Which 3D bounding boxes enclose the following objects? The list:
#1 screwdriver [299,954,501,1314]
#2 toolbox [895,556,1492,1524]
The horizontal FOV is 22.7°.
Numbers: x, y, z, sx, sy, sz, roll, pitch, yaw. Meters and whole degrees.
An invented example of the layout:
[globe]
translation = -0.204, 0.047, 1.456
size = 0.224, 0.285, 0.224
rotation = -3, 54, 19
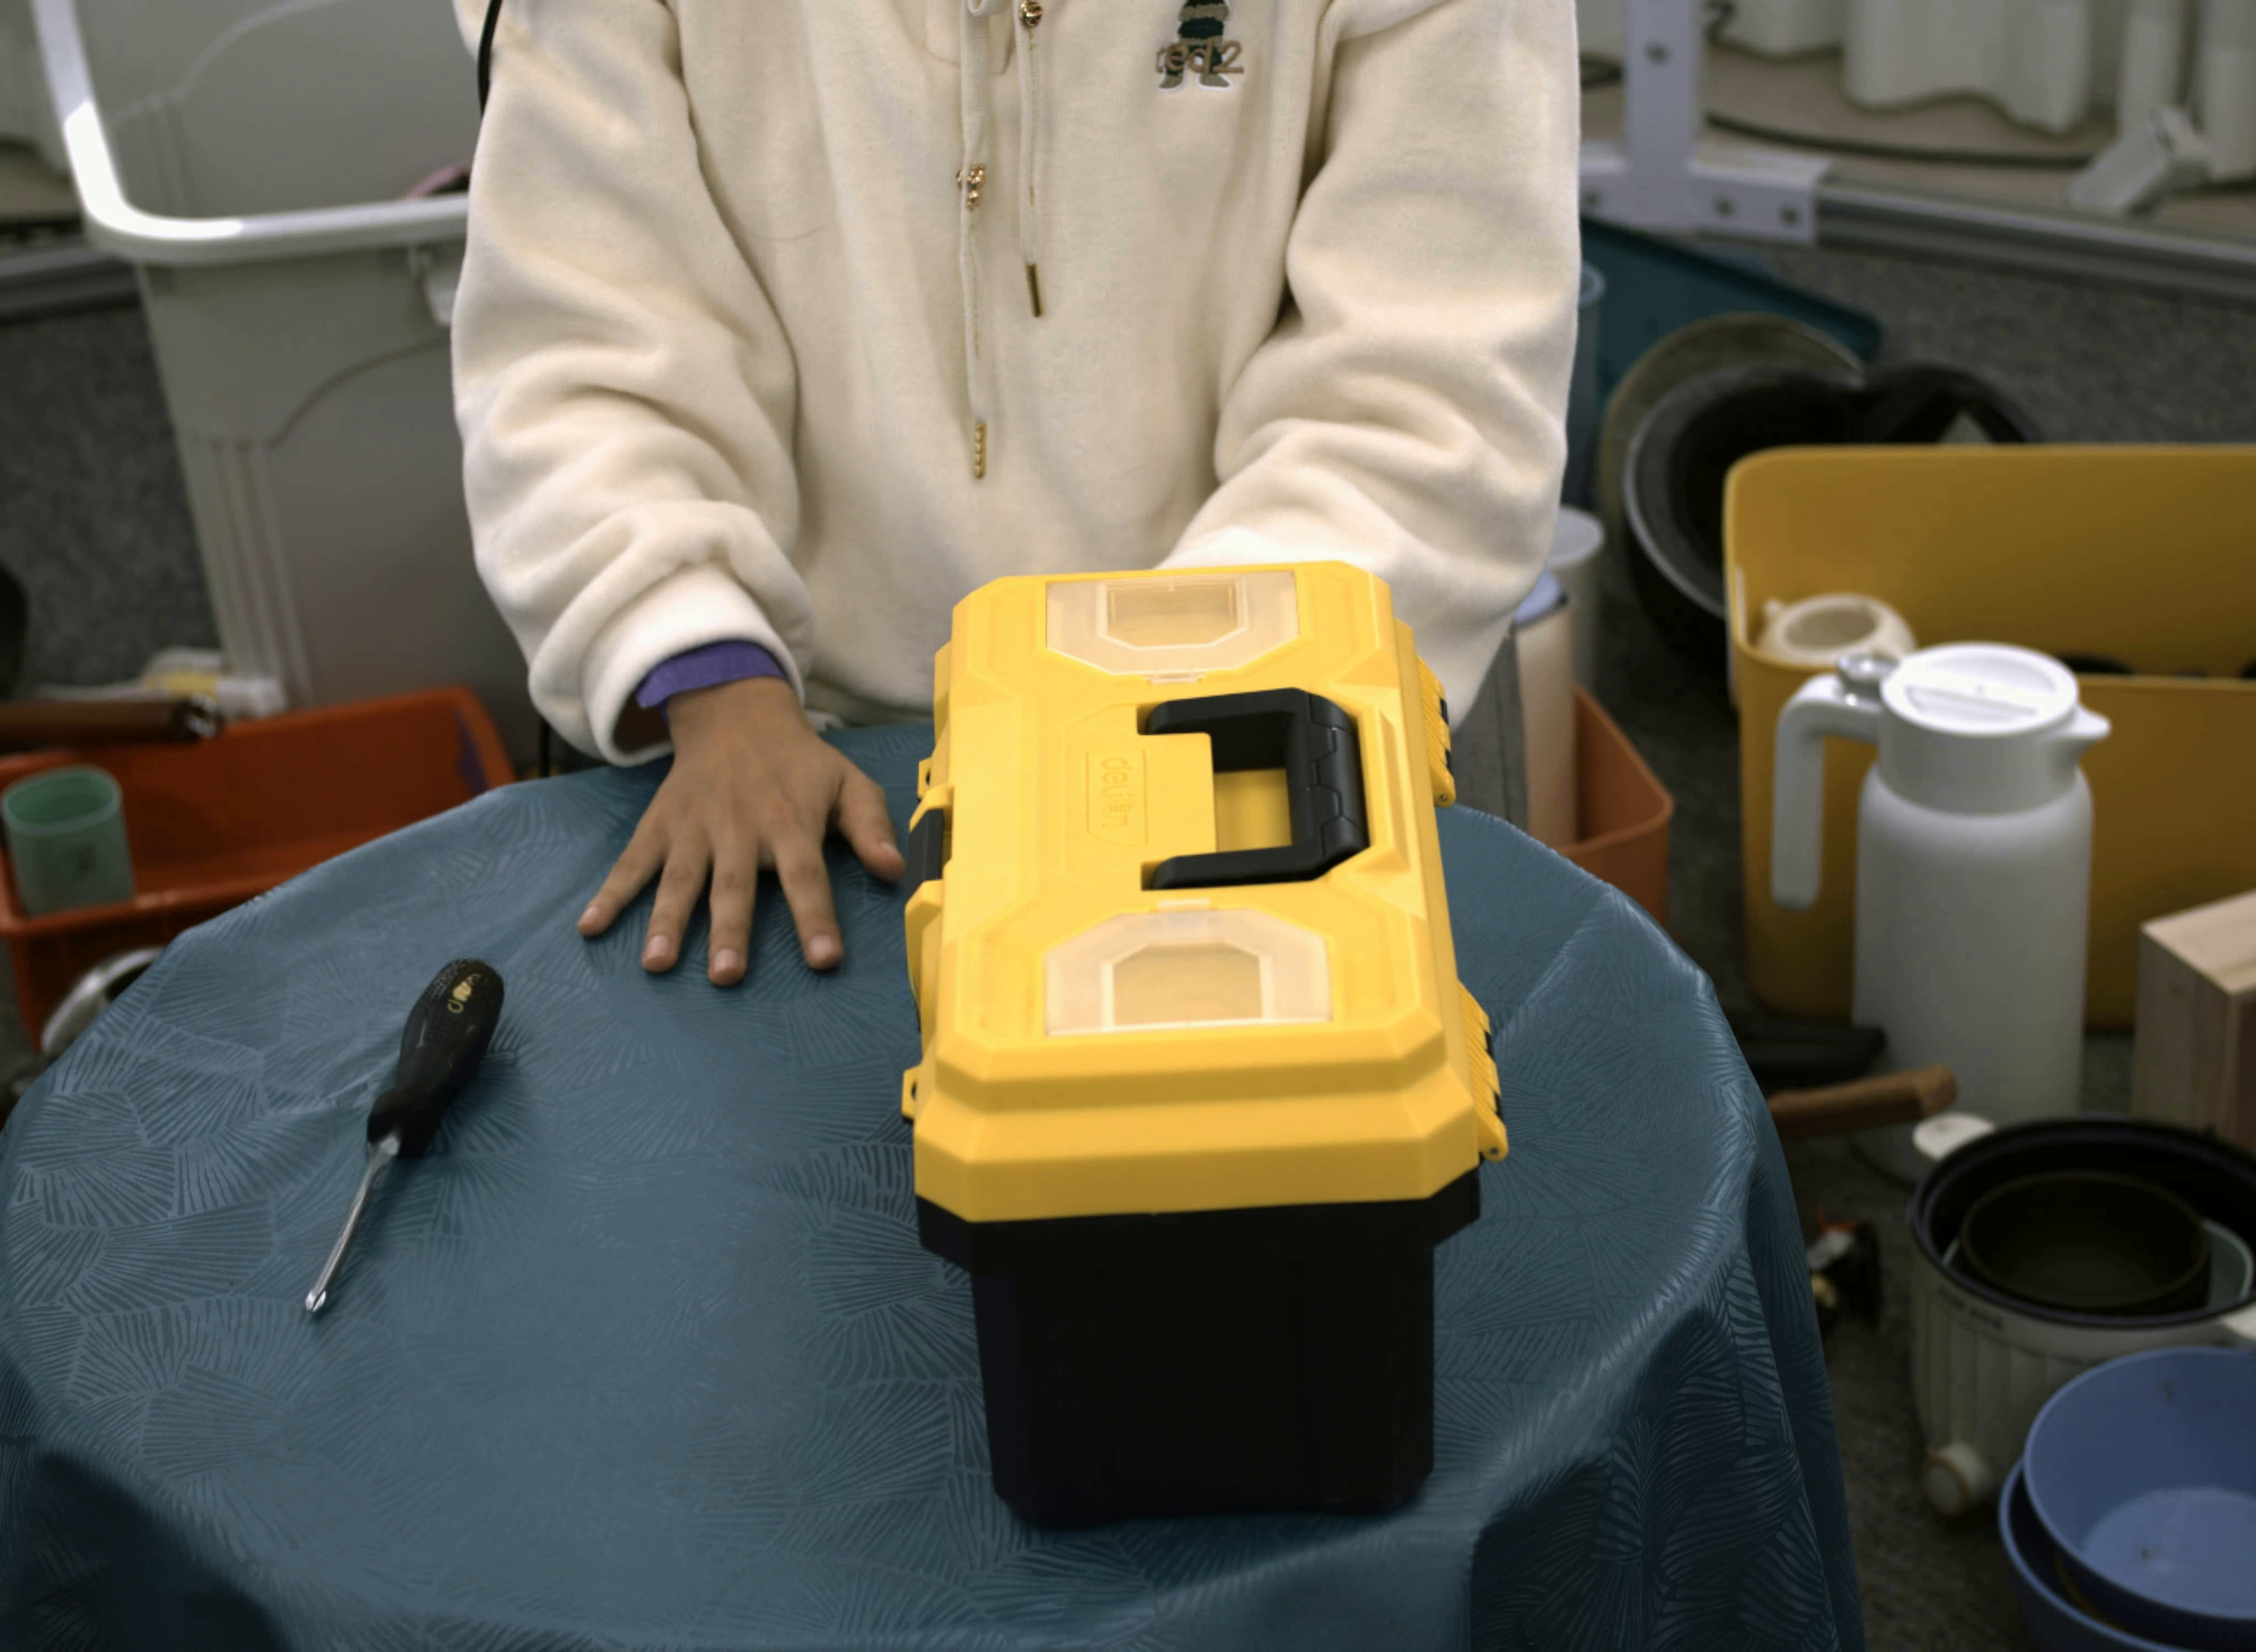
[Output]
[screwdriver]
translation = -0.247, 0.102, 1.890
size = 0.031, 0.031, 0.200
rotation = 3, 29, 10
[toolbox]
translation = 0.020, 0.061, 1.790
size = 0.180, 0.171, 0.357
rotation = -3, 27, 1
